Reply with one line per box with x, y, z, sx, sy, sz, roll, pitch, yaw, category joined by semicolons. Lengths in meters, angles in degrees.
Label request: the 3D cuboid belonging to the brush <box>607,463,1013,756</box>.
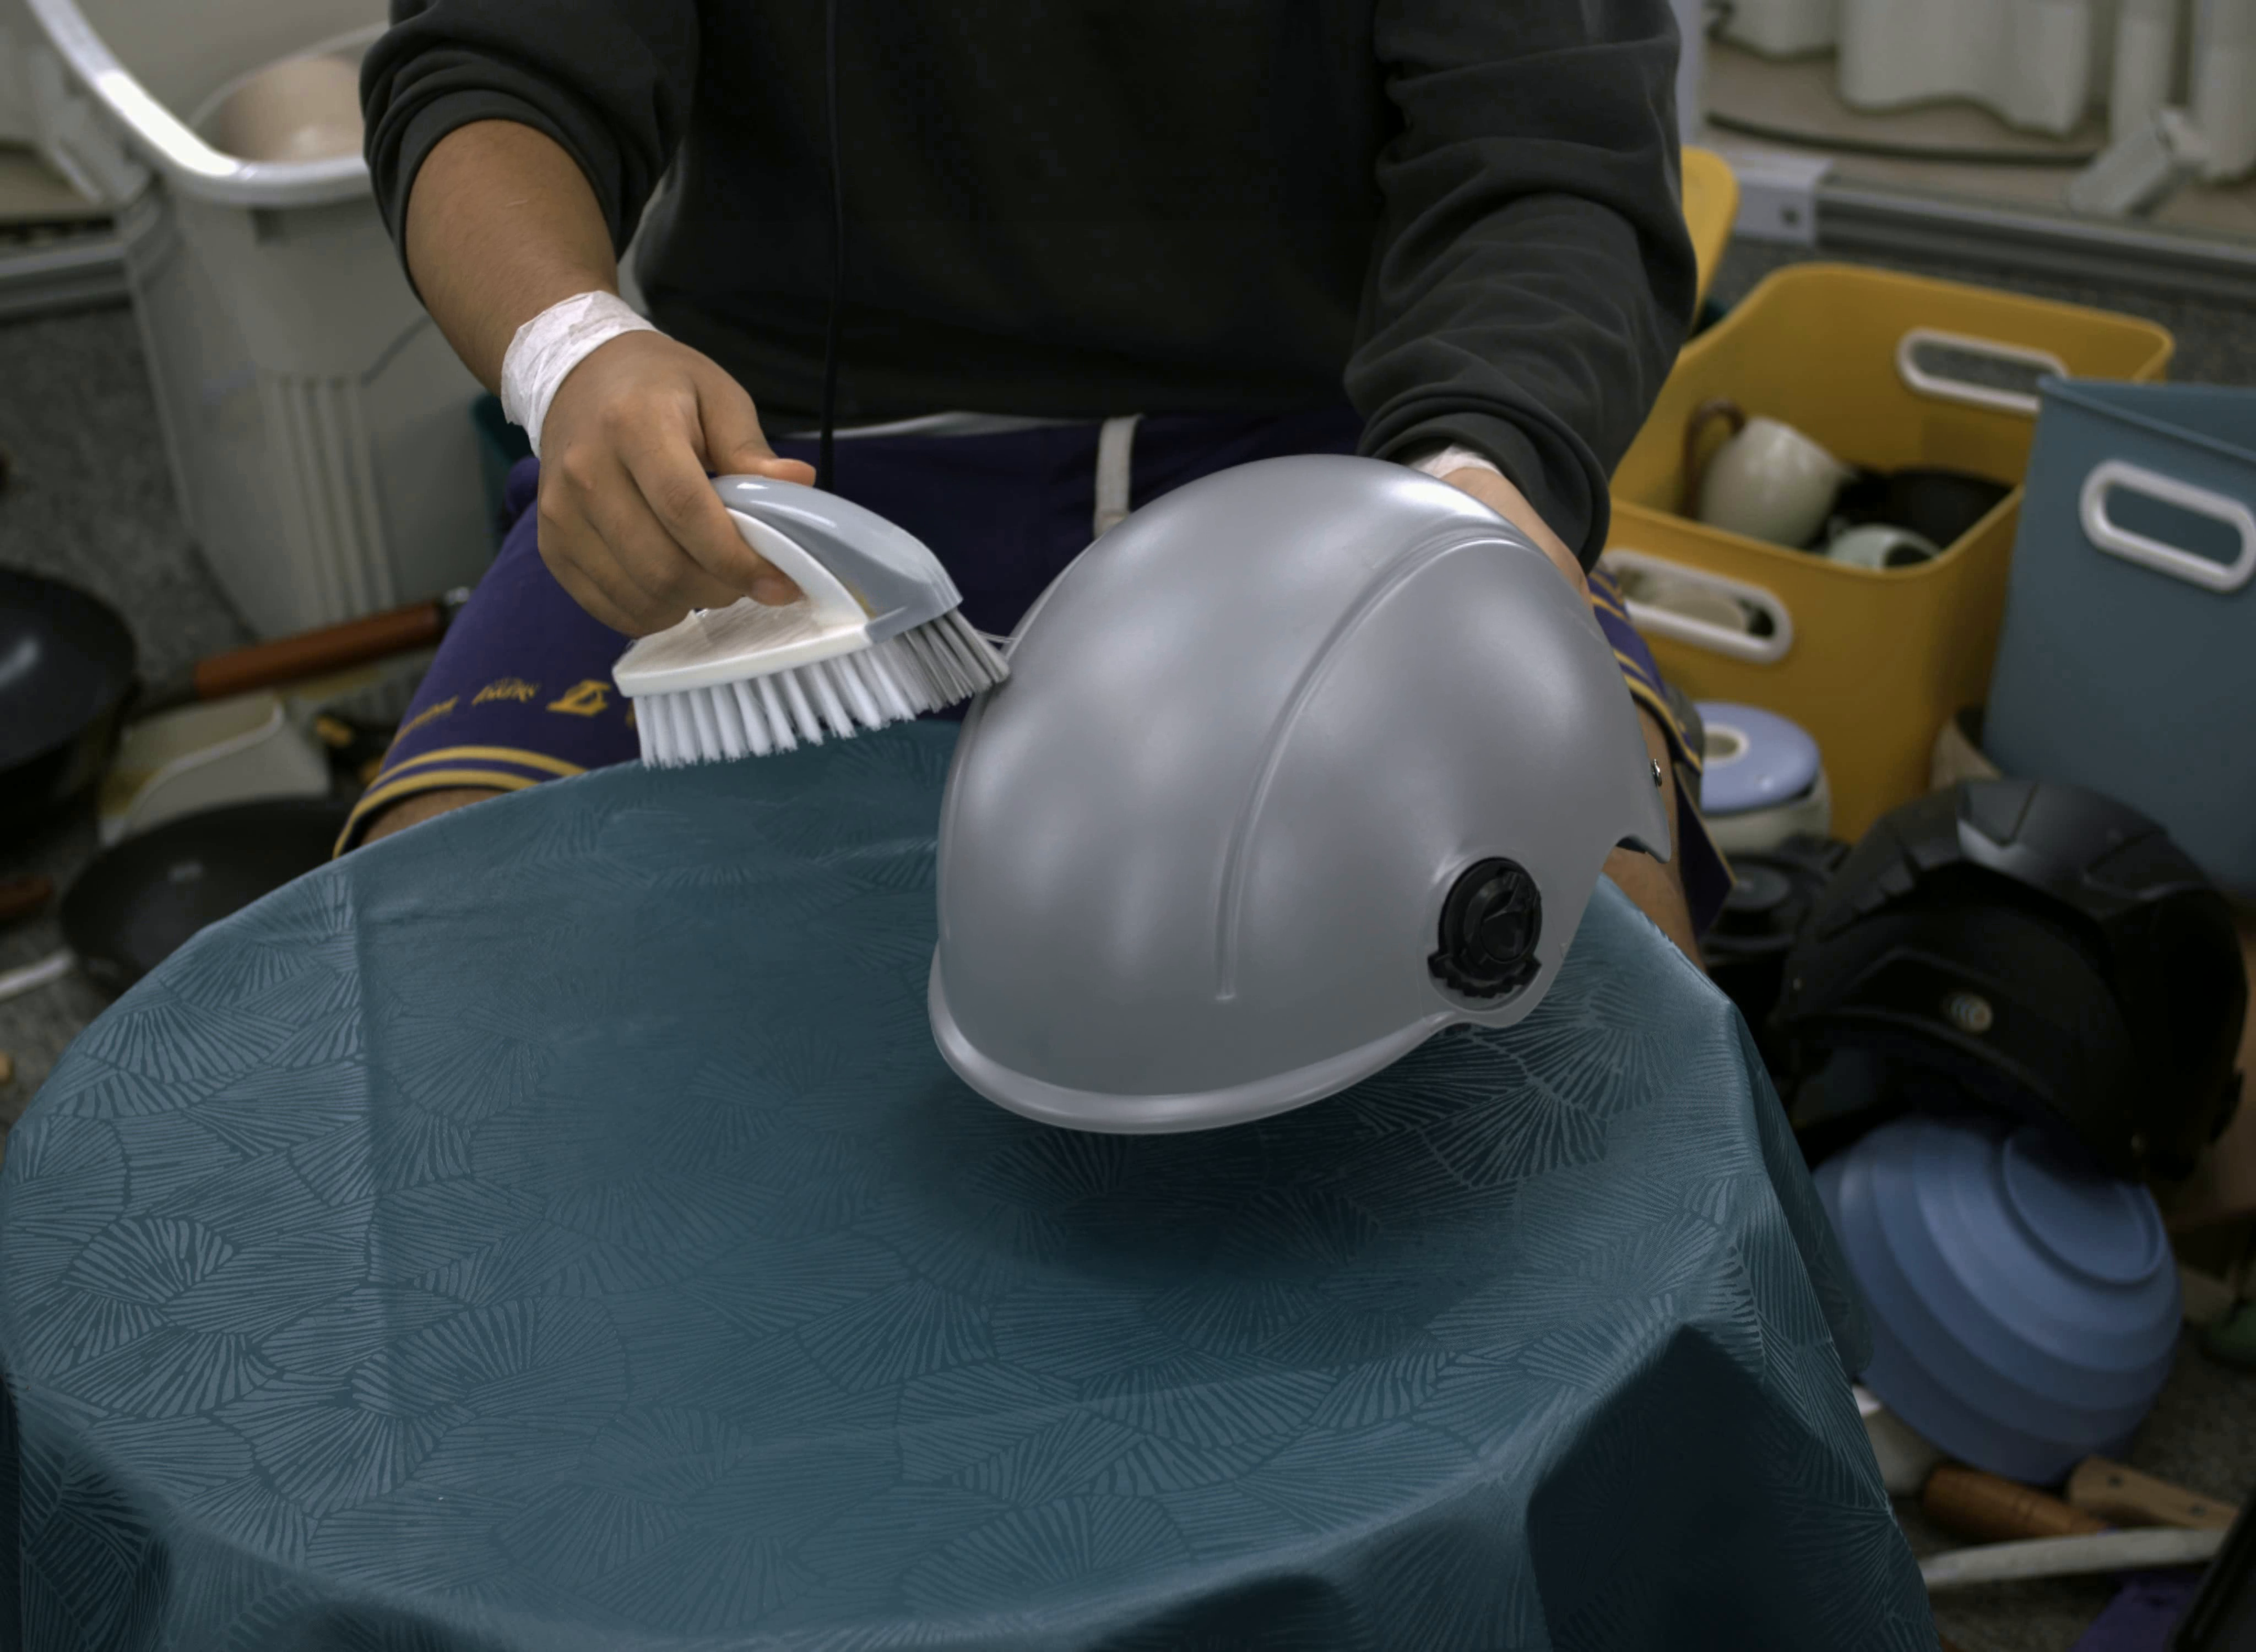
-0.112;-0.080;1.883;0.174;0.094;0.062;-4;29;49;brush

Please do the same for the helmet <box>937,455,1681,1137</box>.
0.048;-0.029;1.866;0.230;0.167;0.280;9;29;37;helmet
